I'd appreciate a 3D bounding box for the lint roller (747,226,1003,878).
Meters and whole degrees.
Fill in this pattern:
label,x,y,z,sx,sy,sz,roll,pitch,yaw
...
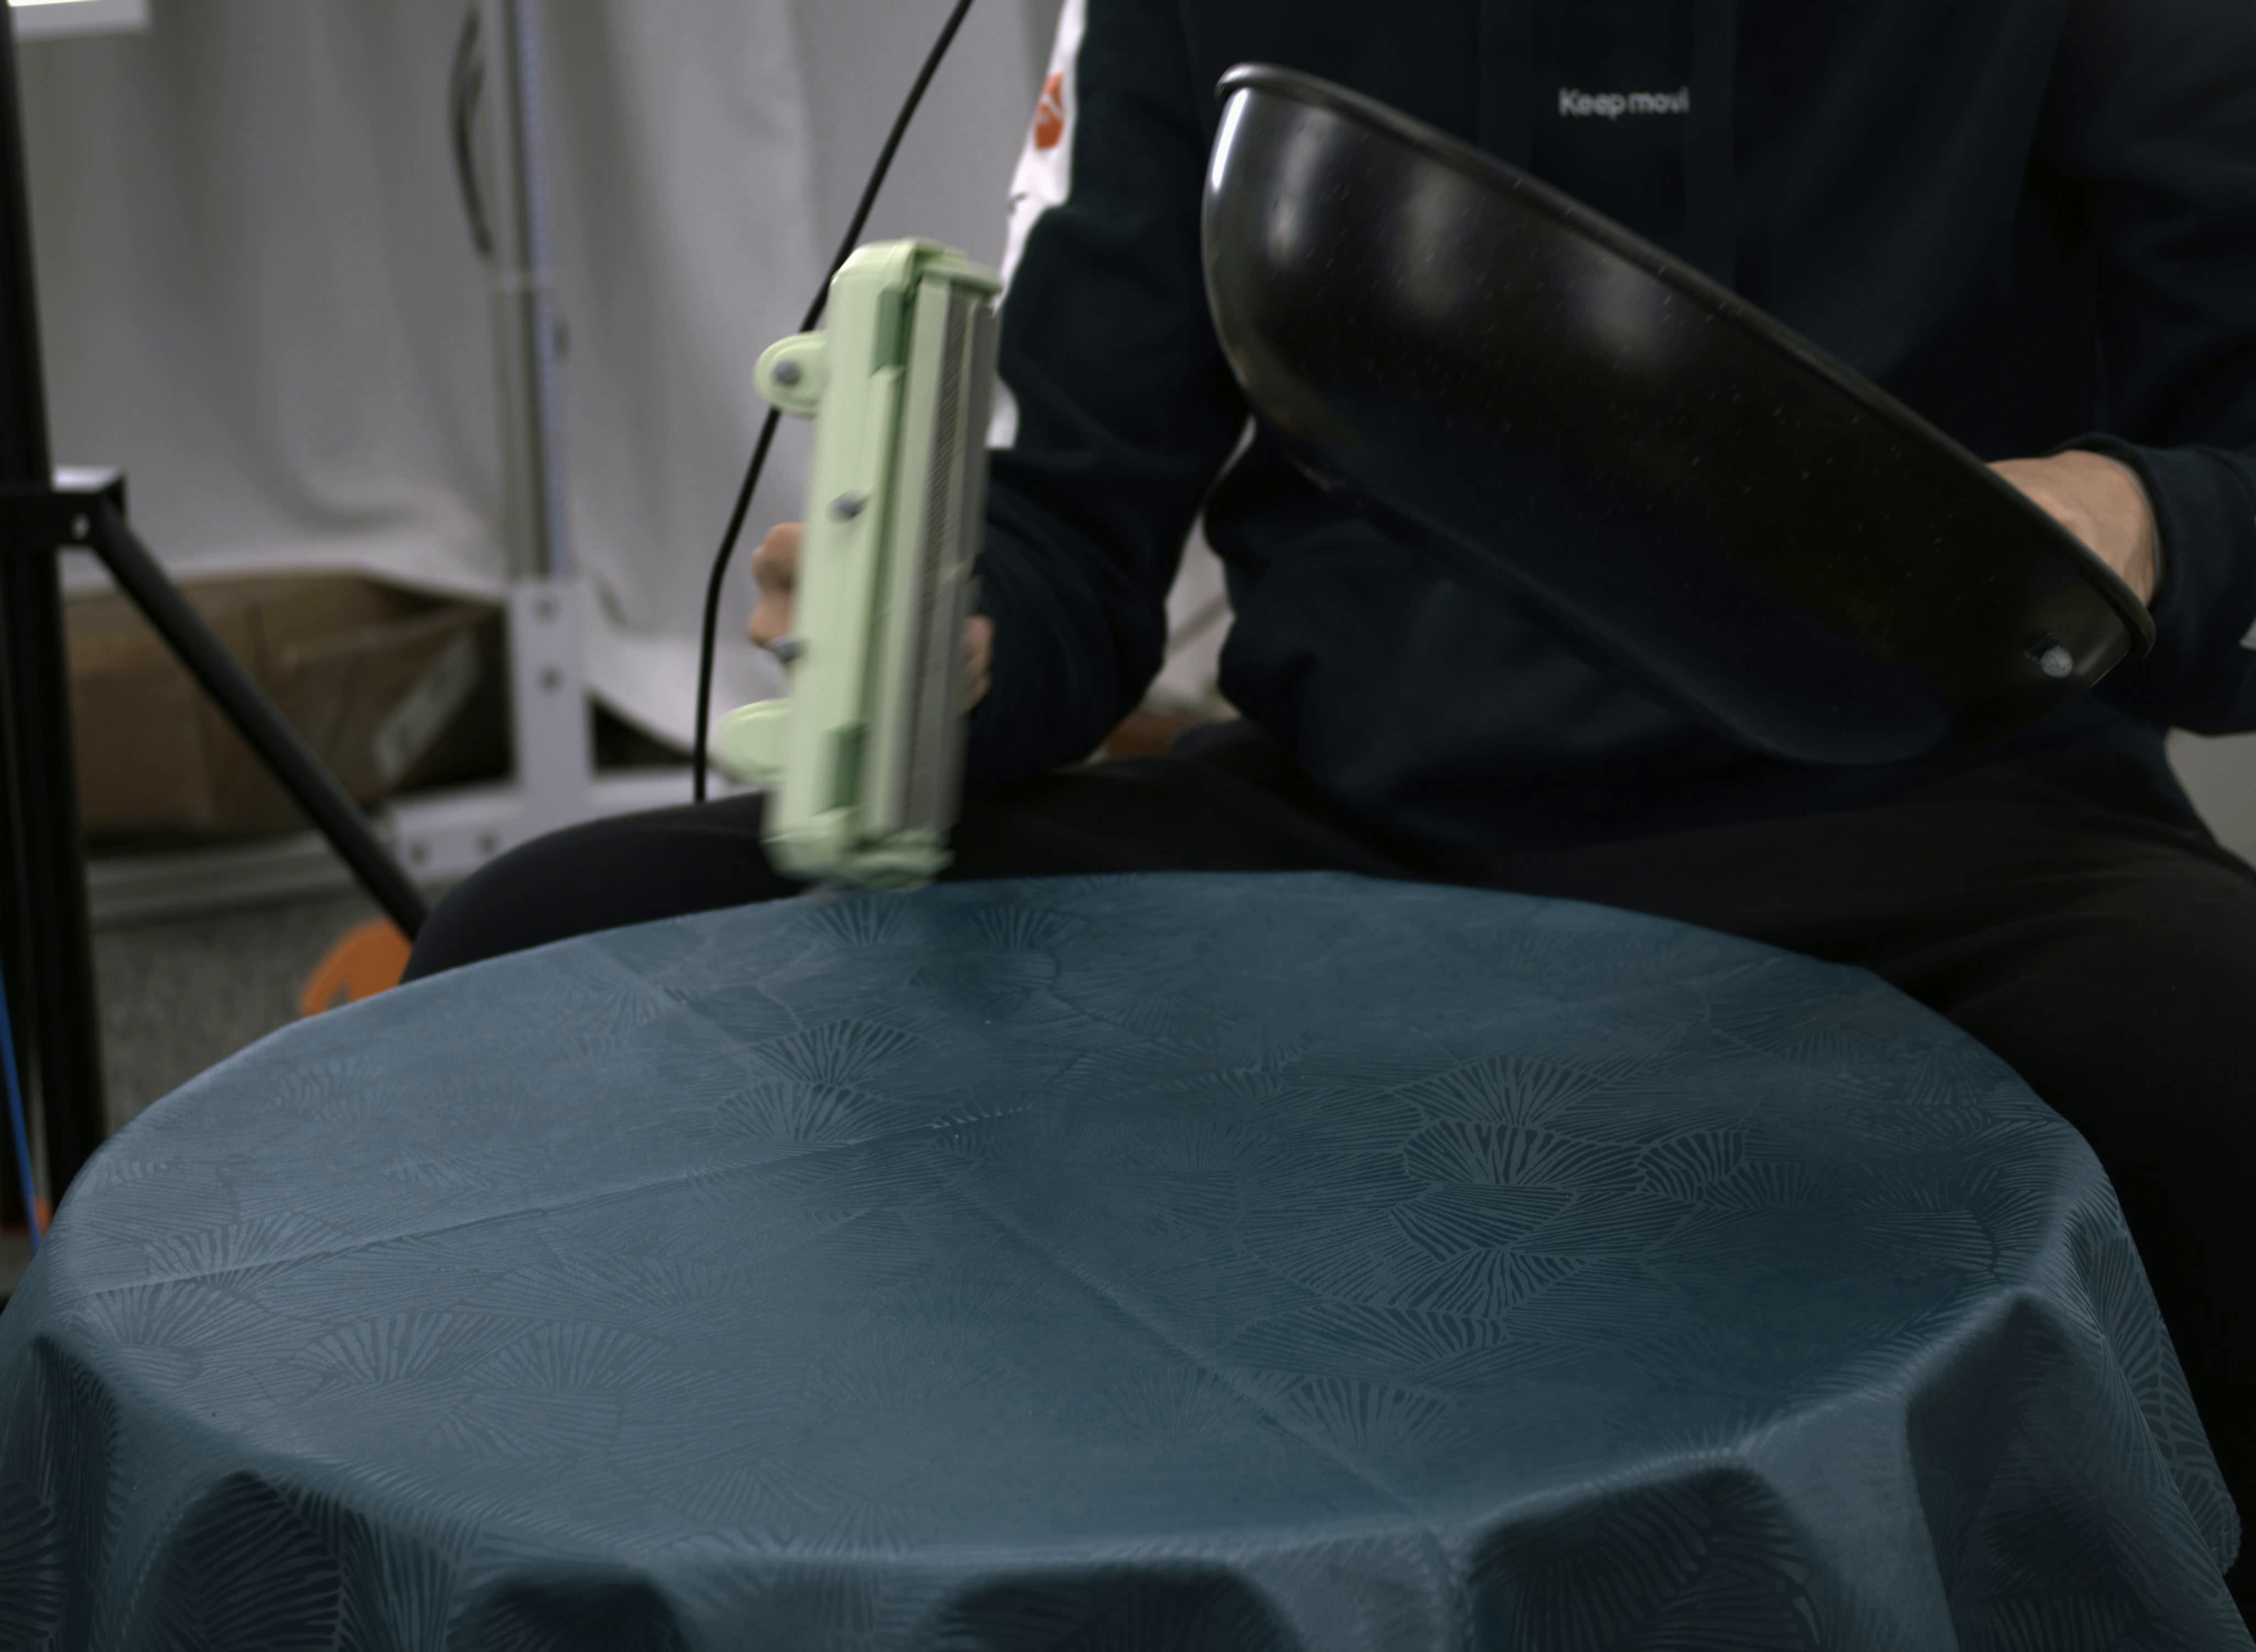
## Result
label,x,y,z,sx,sy,sz,roll,pitch,yaw
lint roller,-0.084,-0.078,1.705,0.081,0.200,0.184,4,-8,-9

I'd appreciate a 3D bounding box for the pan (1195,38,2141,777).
label,x,y,z,sx,sy,sz,roll,pitch,yaw
pan,0.178,-0.084,1.565,0.317,0.112,0.465,34,1,34
